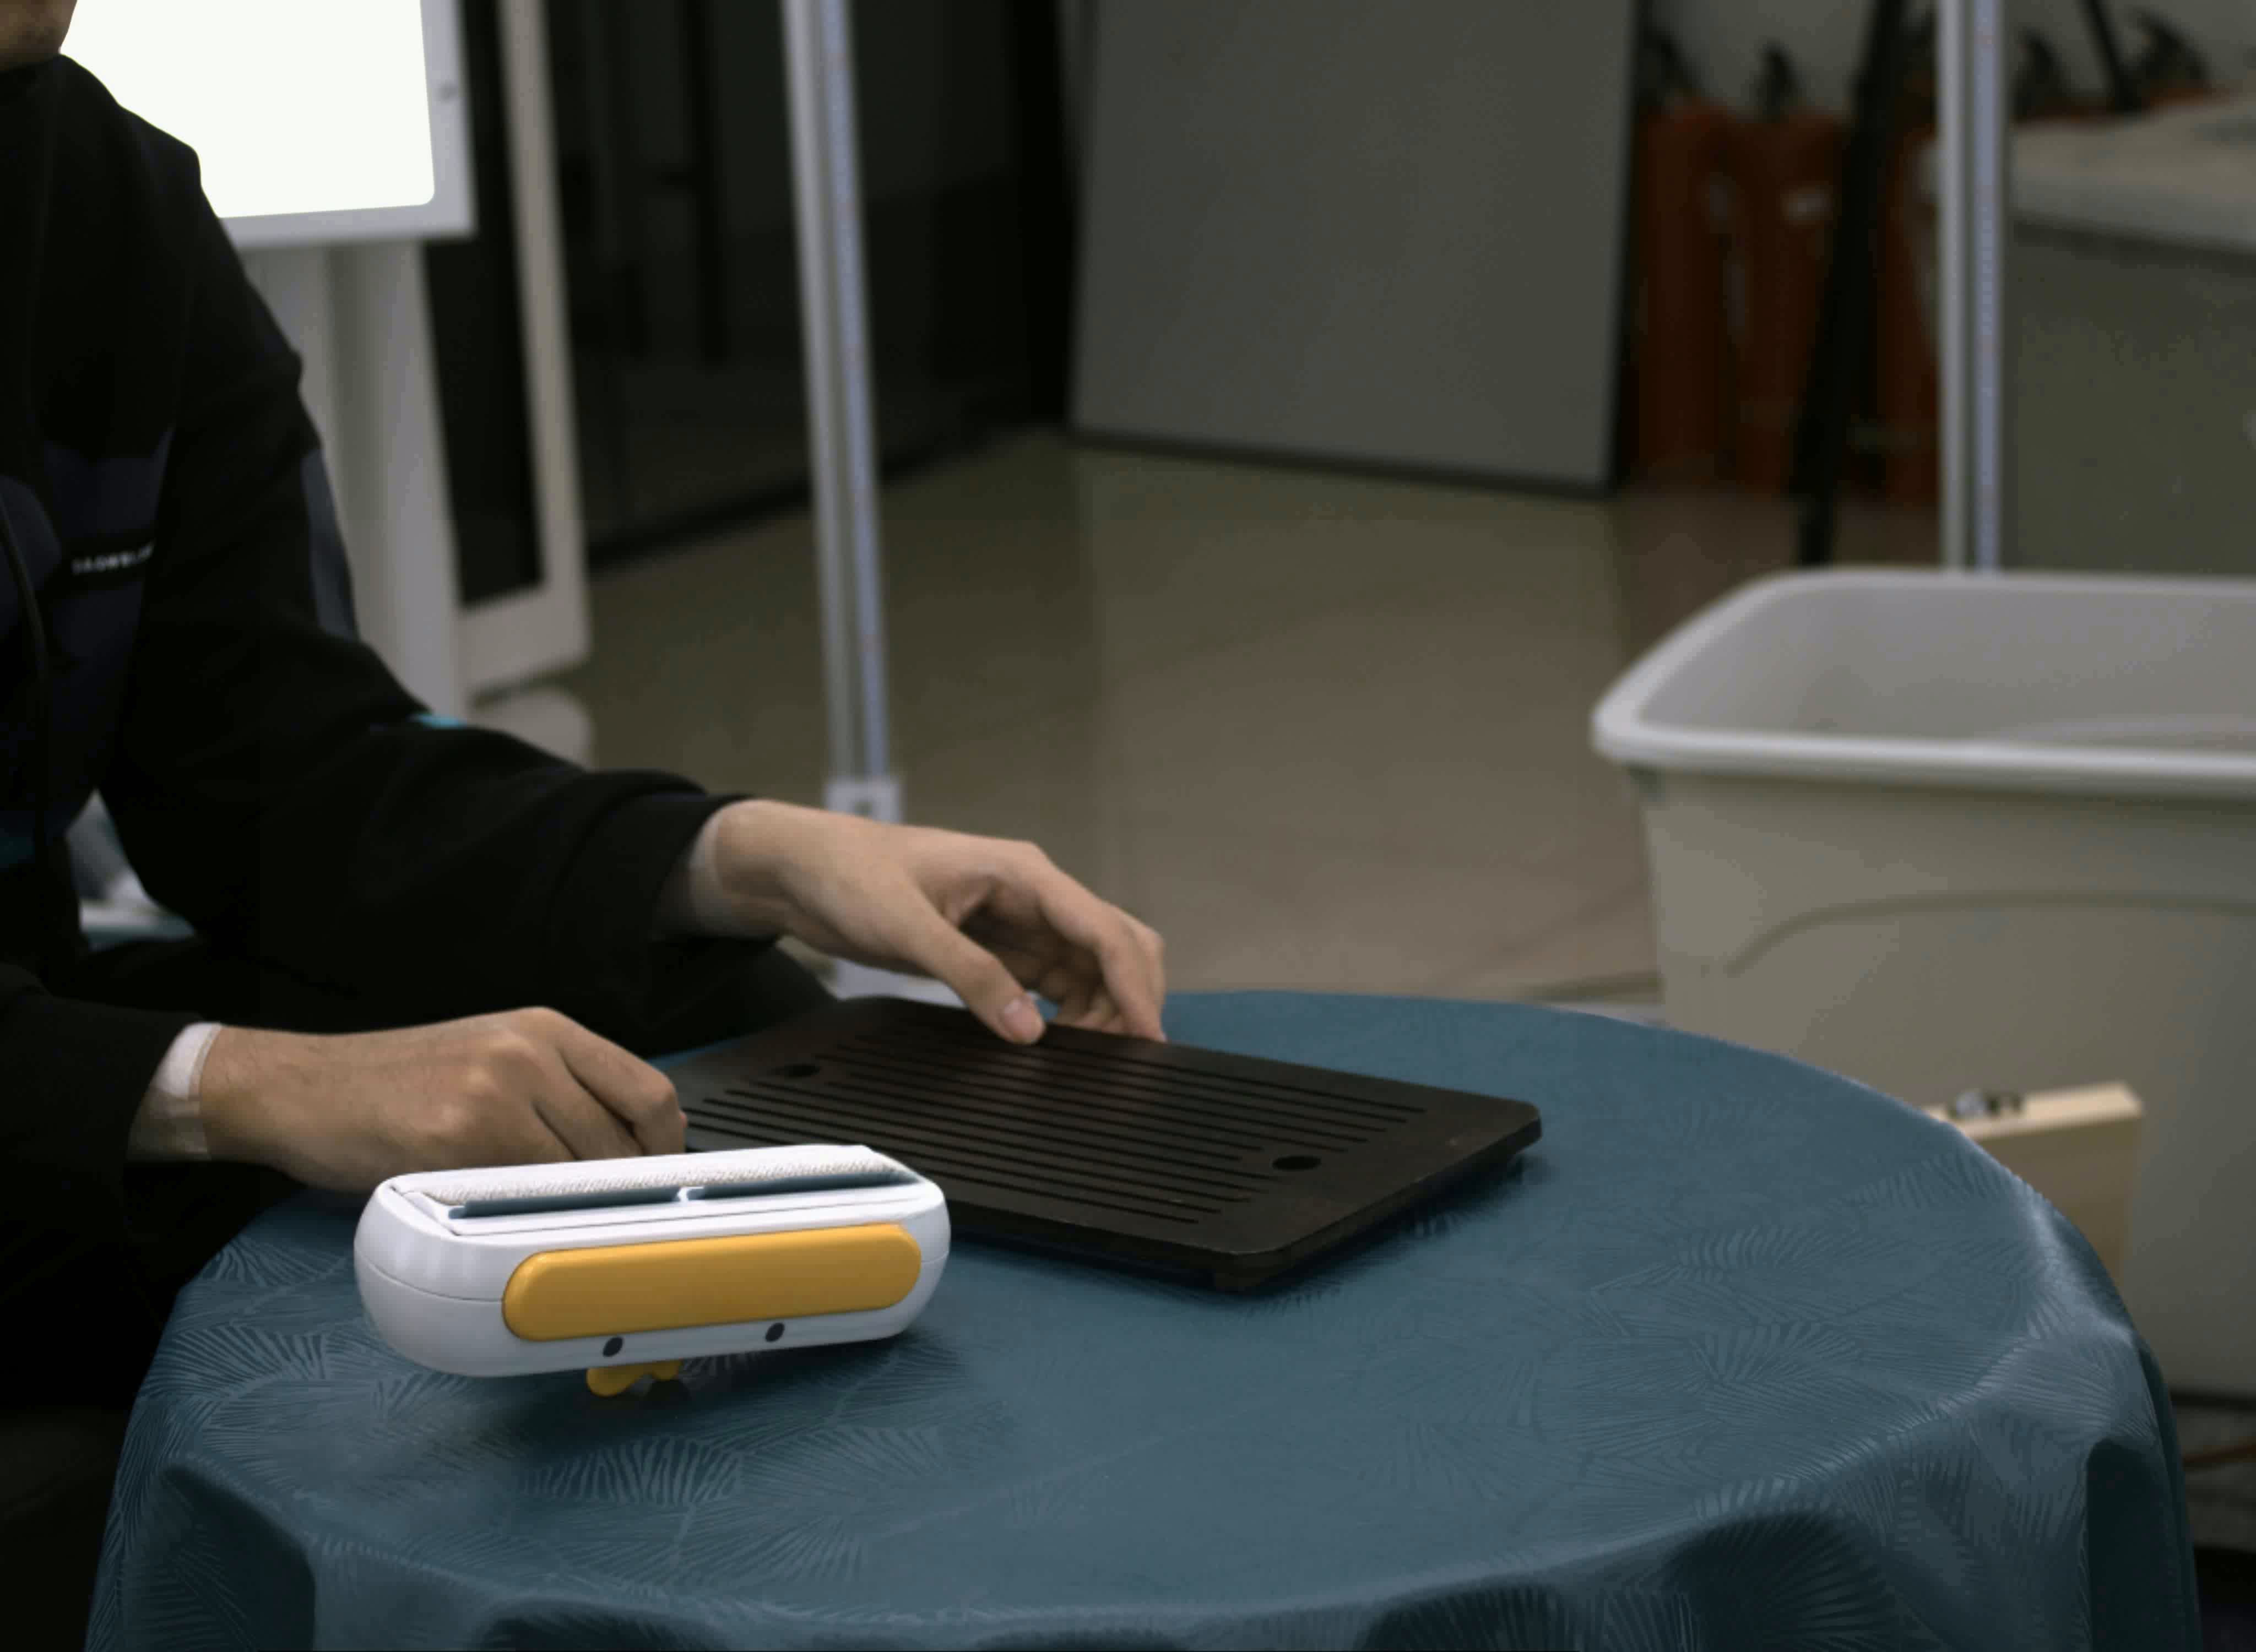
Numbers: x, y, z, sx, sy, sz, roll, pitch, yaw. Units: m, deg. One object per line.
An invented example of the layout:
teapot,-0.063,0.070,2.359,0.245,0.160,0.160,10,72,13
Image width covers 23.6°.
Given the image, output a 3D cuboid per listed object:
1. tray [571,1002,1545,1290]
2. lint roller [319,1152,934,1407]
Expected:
tray,-0.026,0.105,1.809,0.308,0.019,0.167,7,18,39
lint roller,-0.177,0.128,1.656,0.188,0.075,0.194,-6,11,-32
